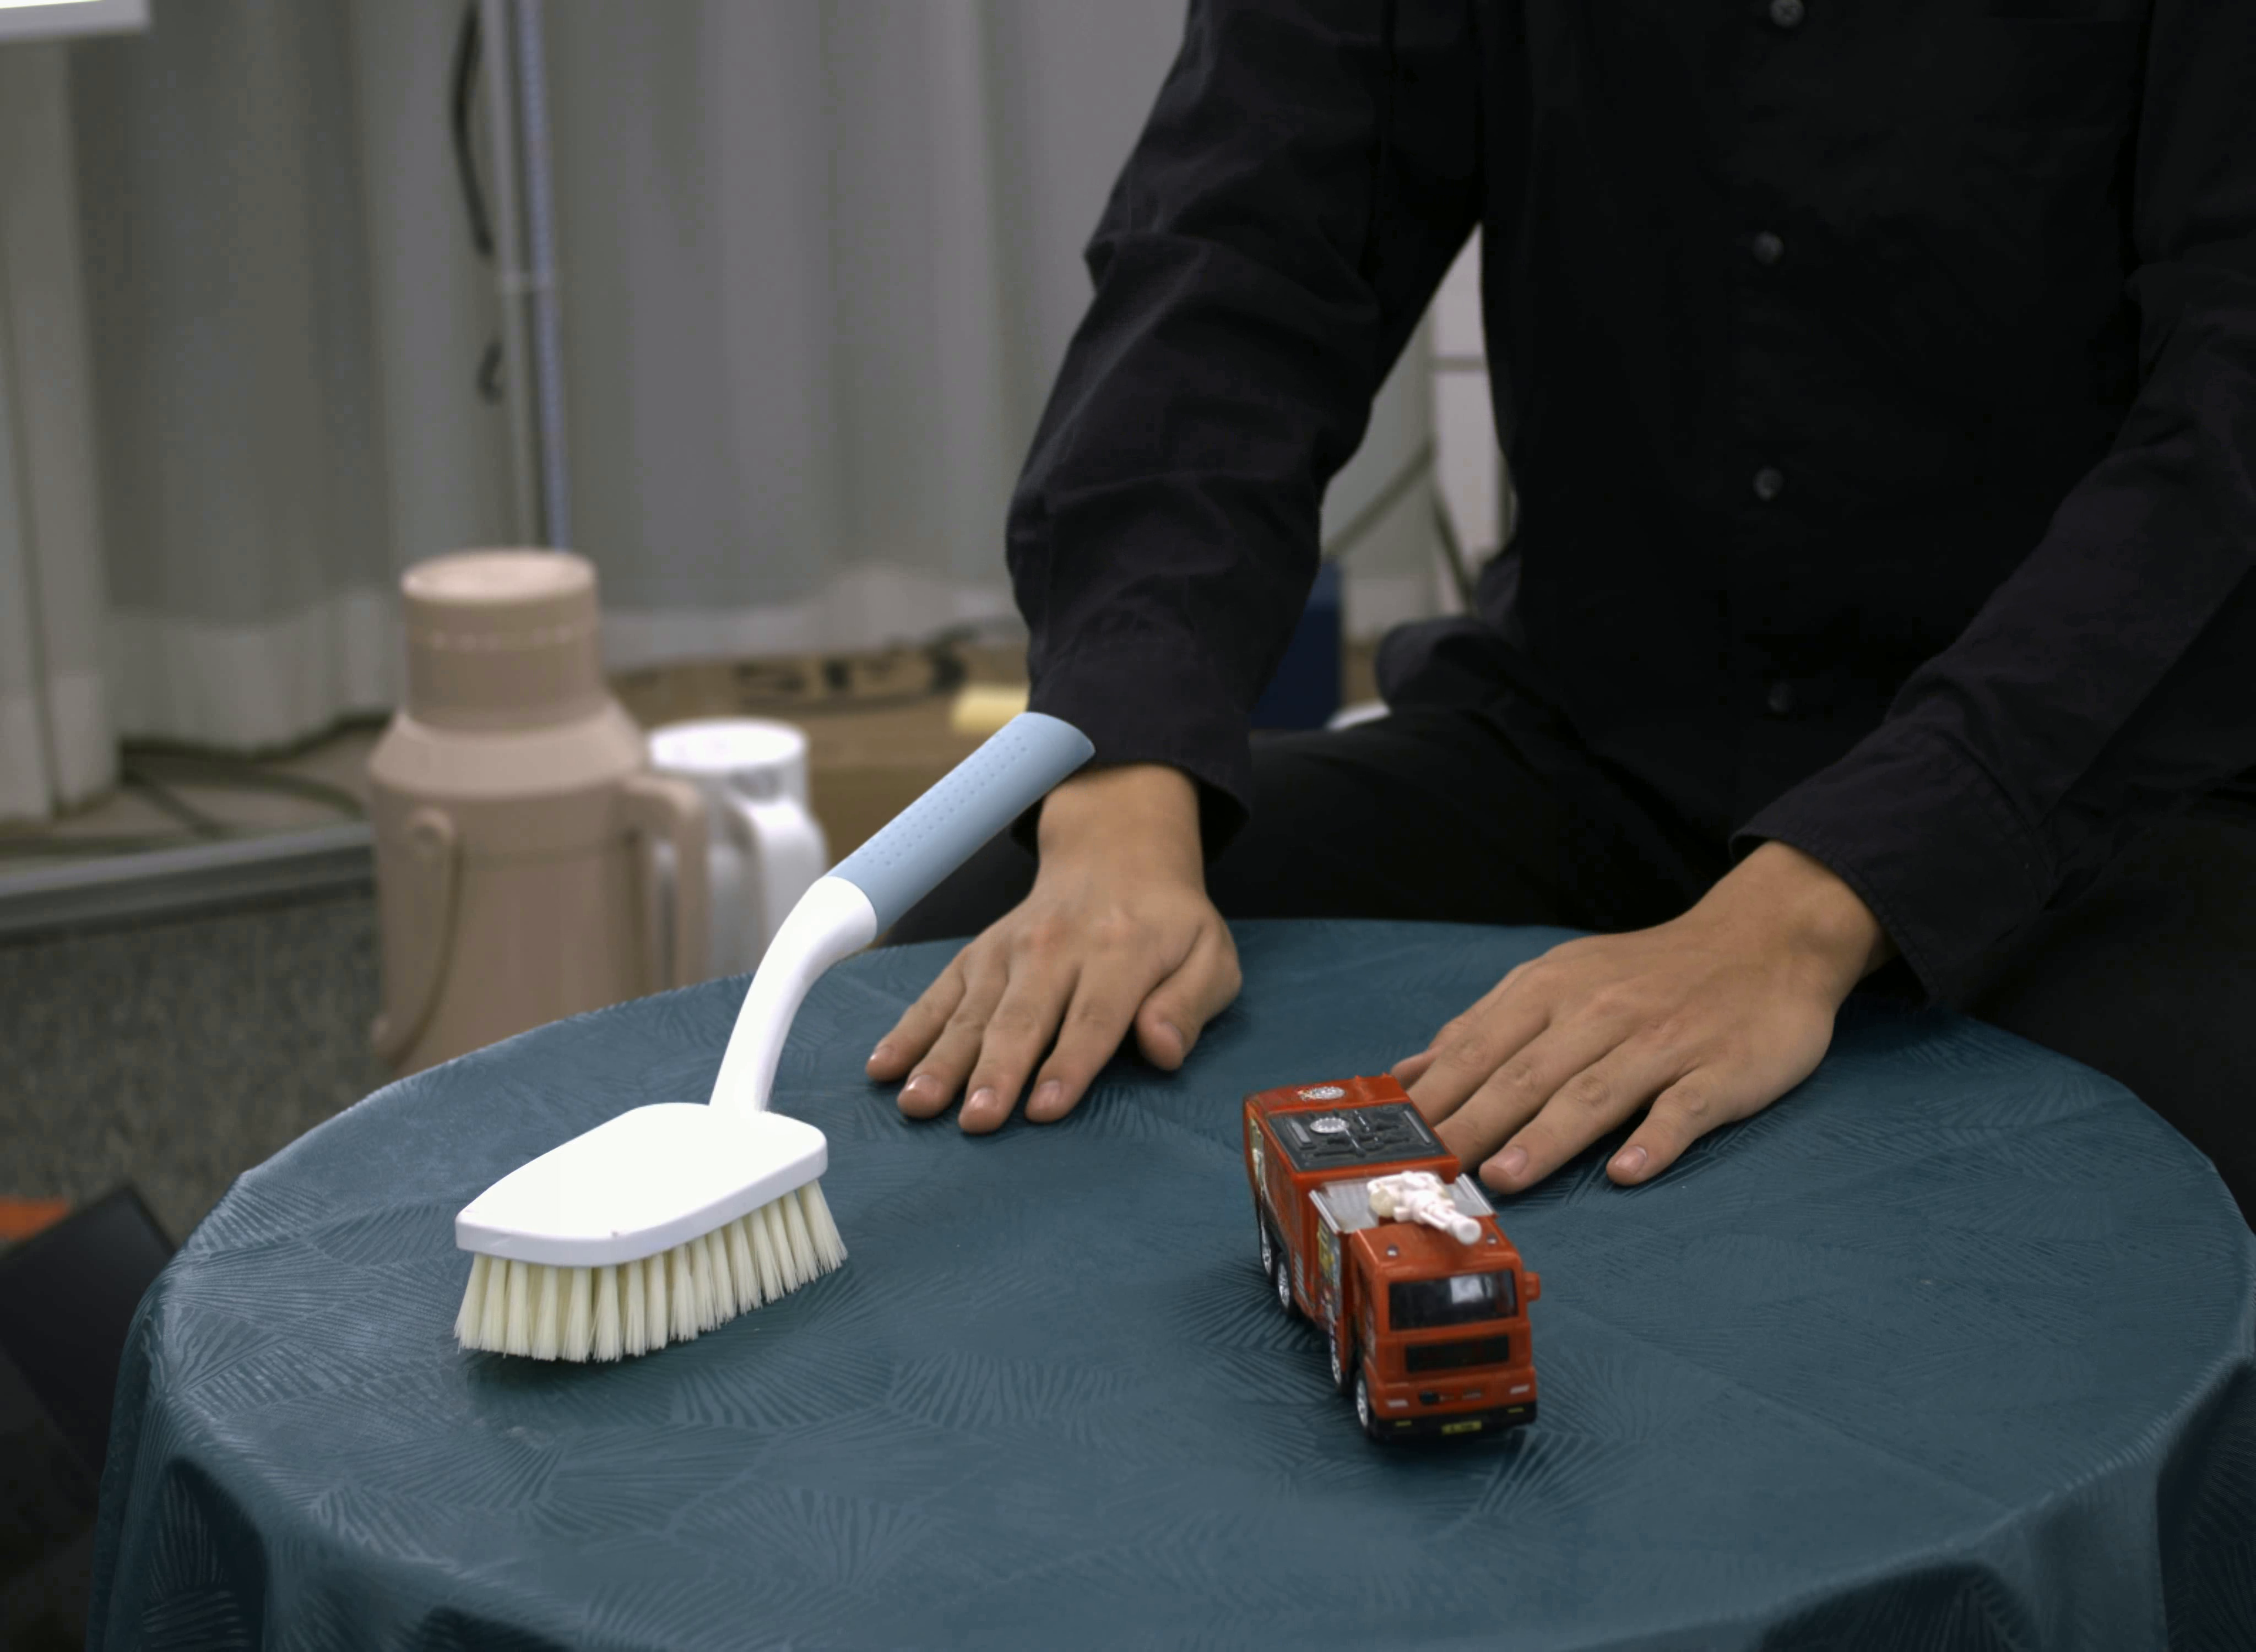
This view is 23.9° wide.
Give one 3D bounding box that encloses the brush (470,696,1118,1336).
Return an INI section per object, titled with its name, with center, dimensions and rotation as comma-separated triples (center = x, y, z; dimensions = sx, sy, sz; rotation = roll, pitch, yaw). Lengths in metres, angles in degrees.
[brush]
center = -0.083, 0.069, 1.565
dimensions = 0.083, 0.085, 0.321
rotation = 39, 42, 9

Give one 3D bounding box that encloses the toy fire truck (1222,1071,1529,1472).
[toy fire truck]
center = 0.065, 0.116, 1.416
dimensions = 0.053, 0.070, 0.170
rotation = -5, 15, -11
